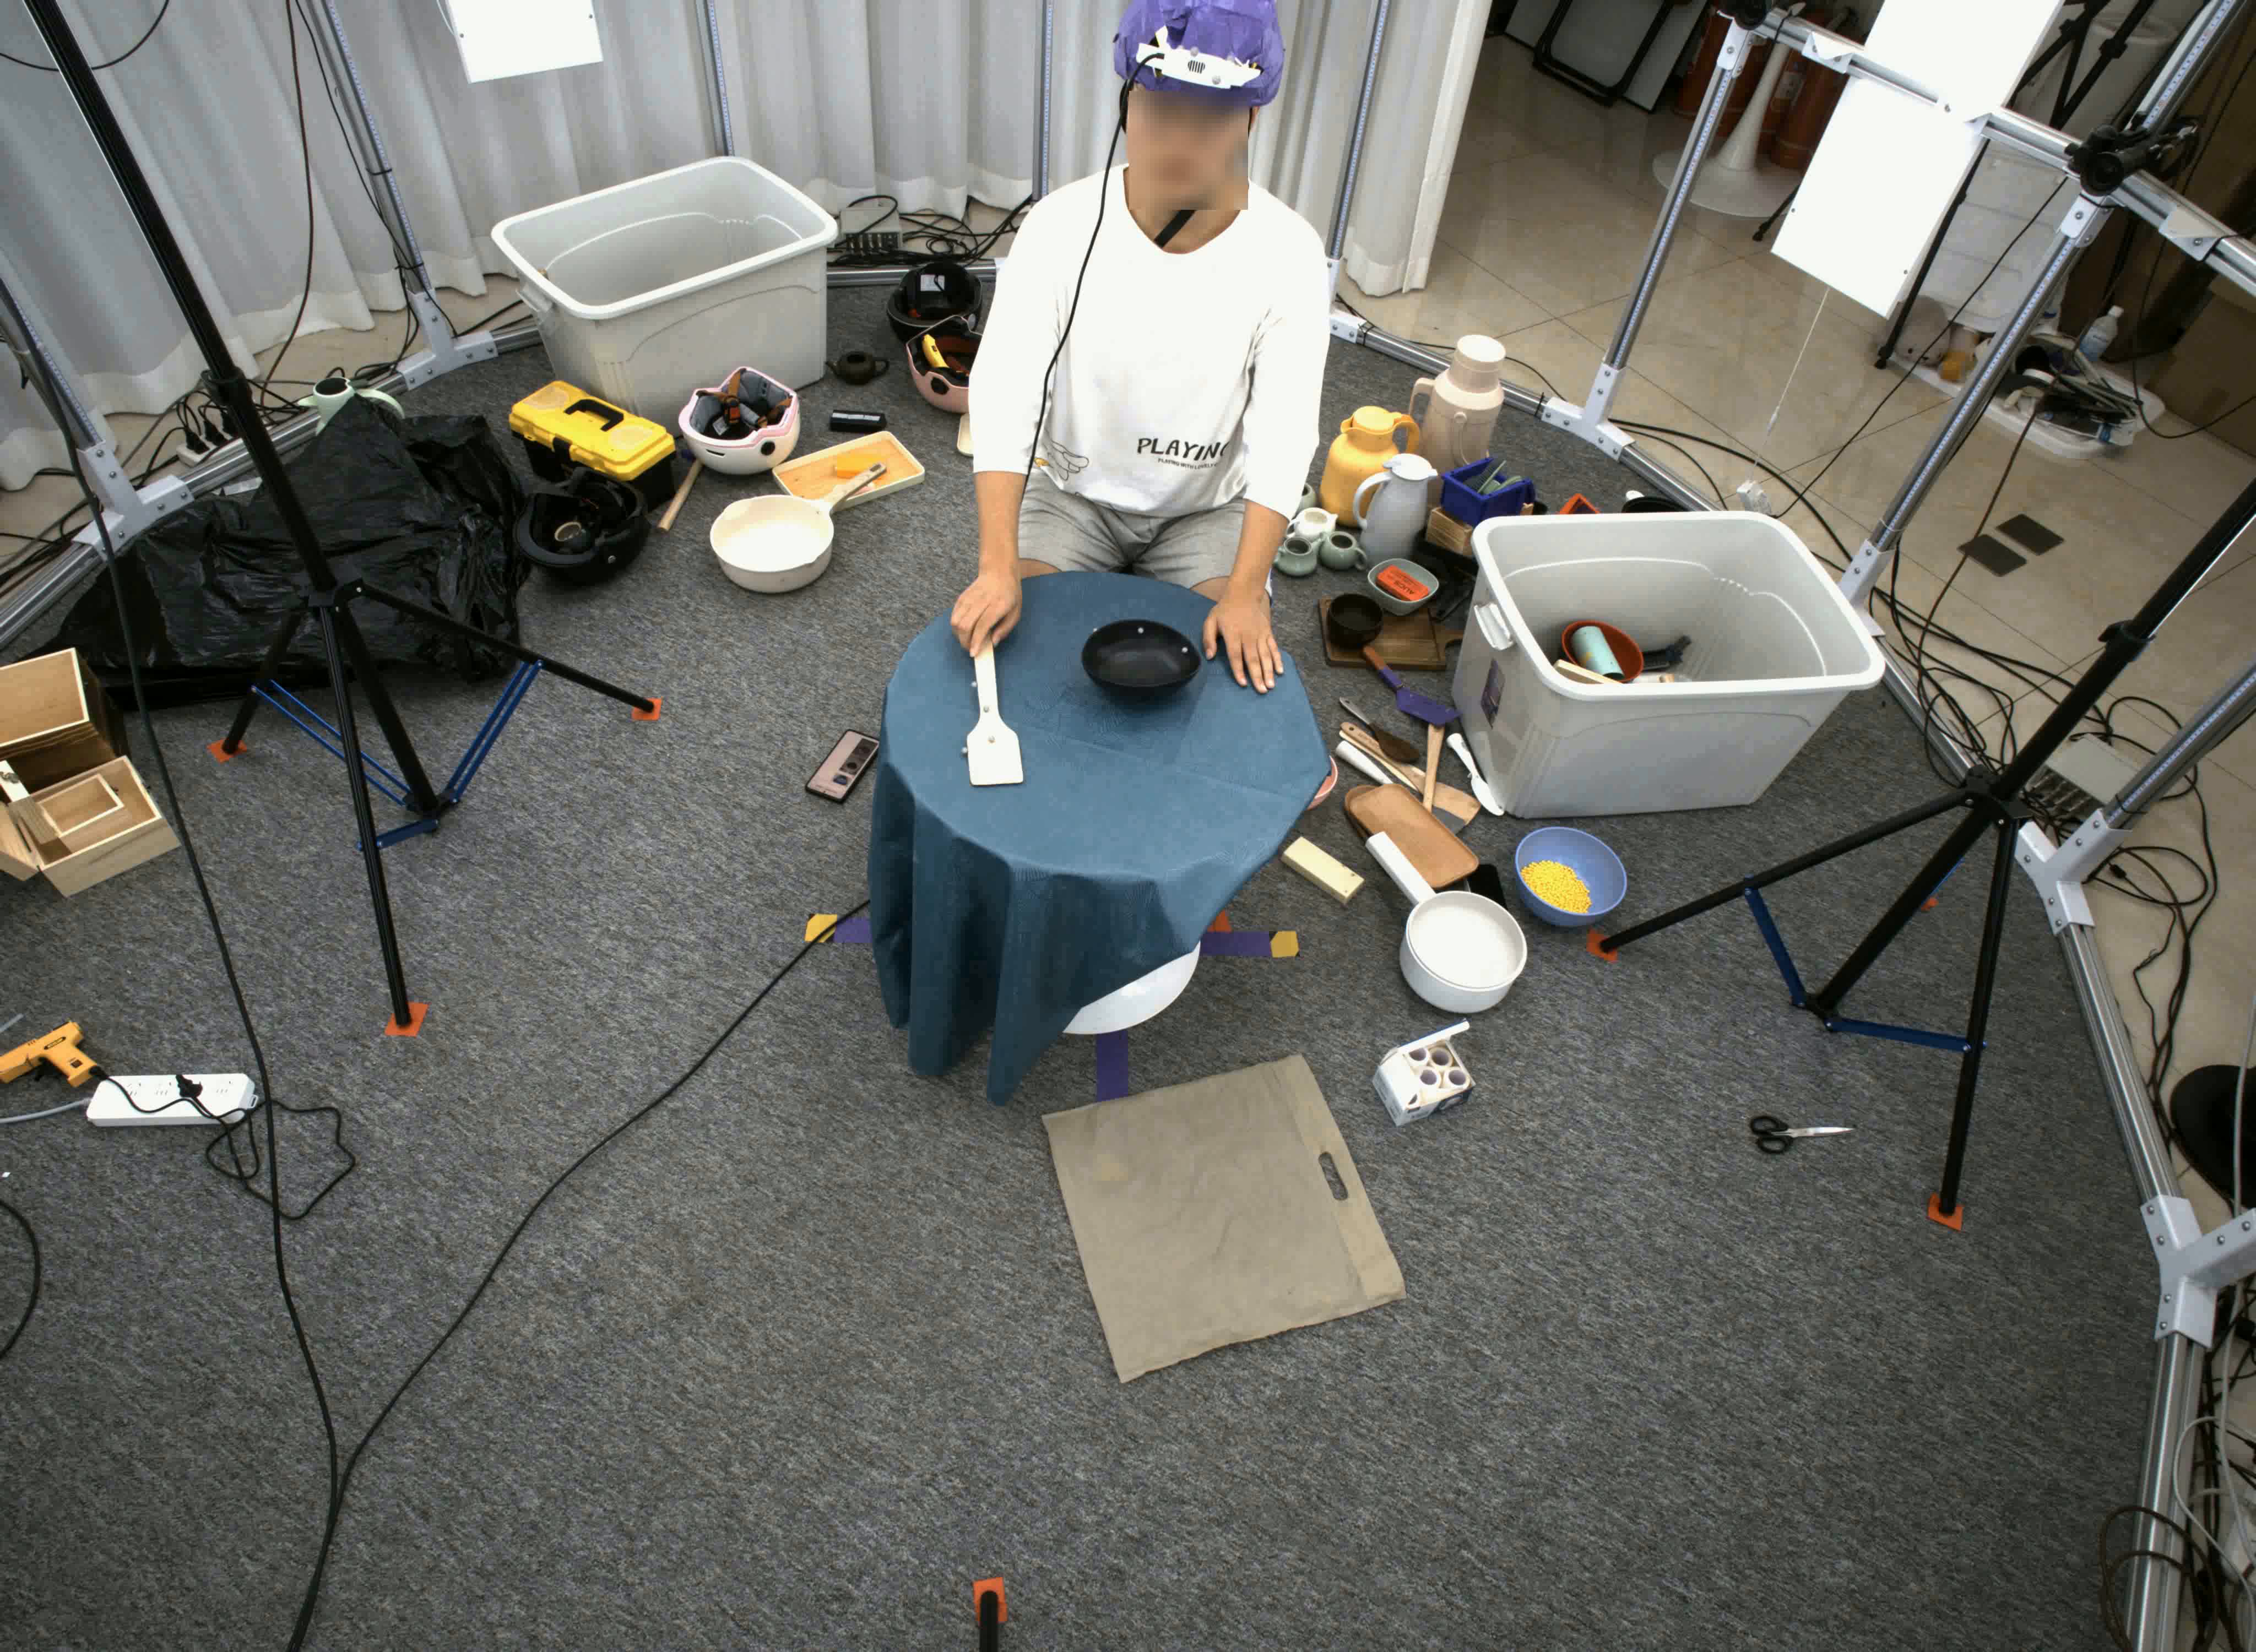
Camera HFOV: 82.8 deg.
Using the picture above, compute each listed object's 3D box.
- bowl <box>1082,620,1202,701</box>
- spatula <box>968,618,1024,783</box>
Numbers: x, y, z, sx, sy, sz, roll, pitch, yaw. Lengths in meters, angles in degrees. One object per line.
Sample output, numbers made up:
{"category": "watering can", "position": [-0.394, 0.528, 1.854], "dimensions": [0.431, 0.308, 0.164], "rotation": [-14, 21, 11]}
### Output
{"category": "bowl", "position": [0.018, -0.225, 1.820], "dimensions": [0.170, 0.065, 0.141], "rotation": [-3, 49, -10]}
{"category": "spatula", "position": [-0.193, -0.179, 1.785], "dimensions": [0.072, 0.010, 0.300], "rotation": [-4, 55, -8]}
